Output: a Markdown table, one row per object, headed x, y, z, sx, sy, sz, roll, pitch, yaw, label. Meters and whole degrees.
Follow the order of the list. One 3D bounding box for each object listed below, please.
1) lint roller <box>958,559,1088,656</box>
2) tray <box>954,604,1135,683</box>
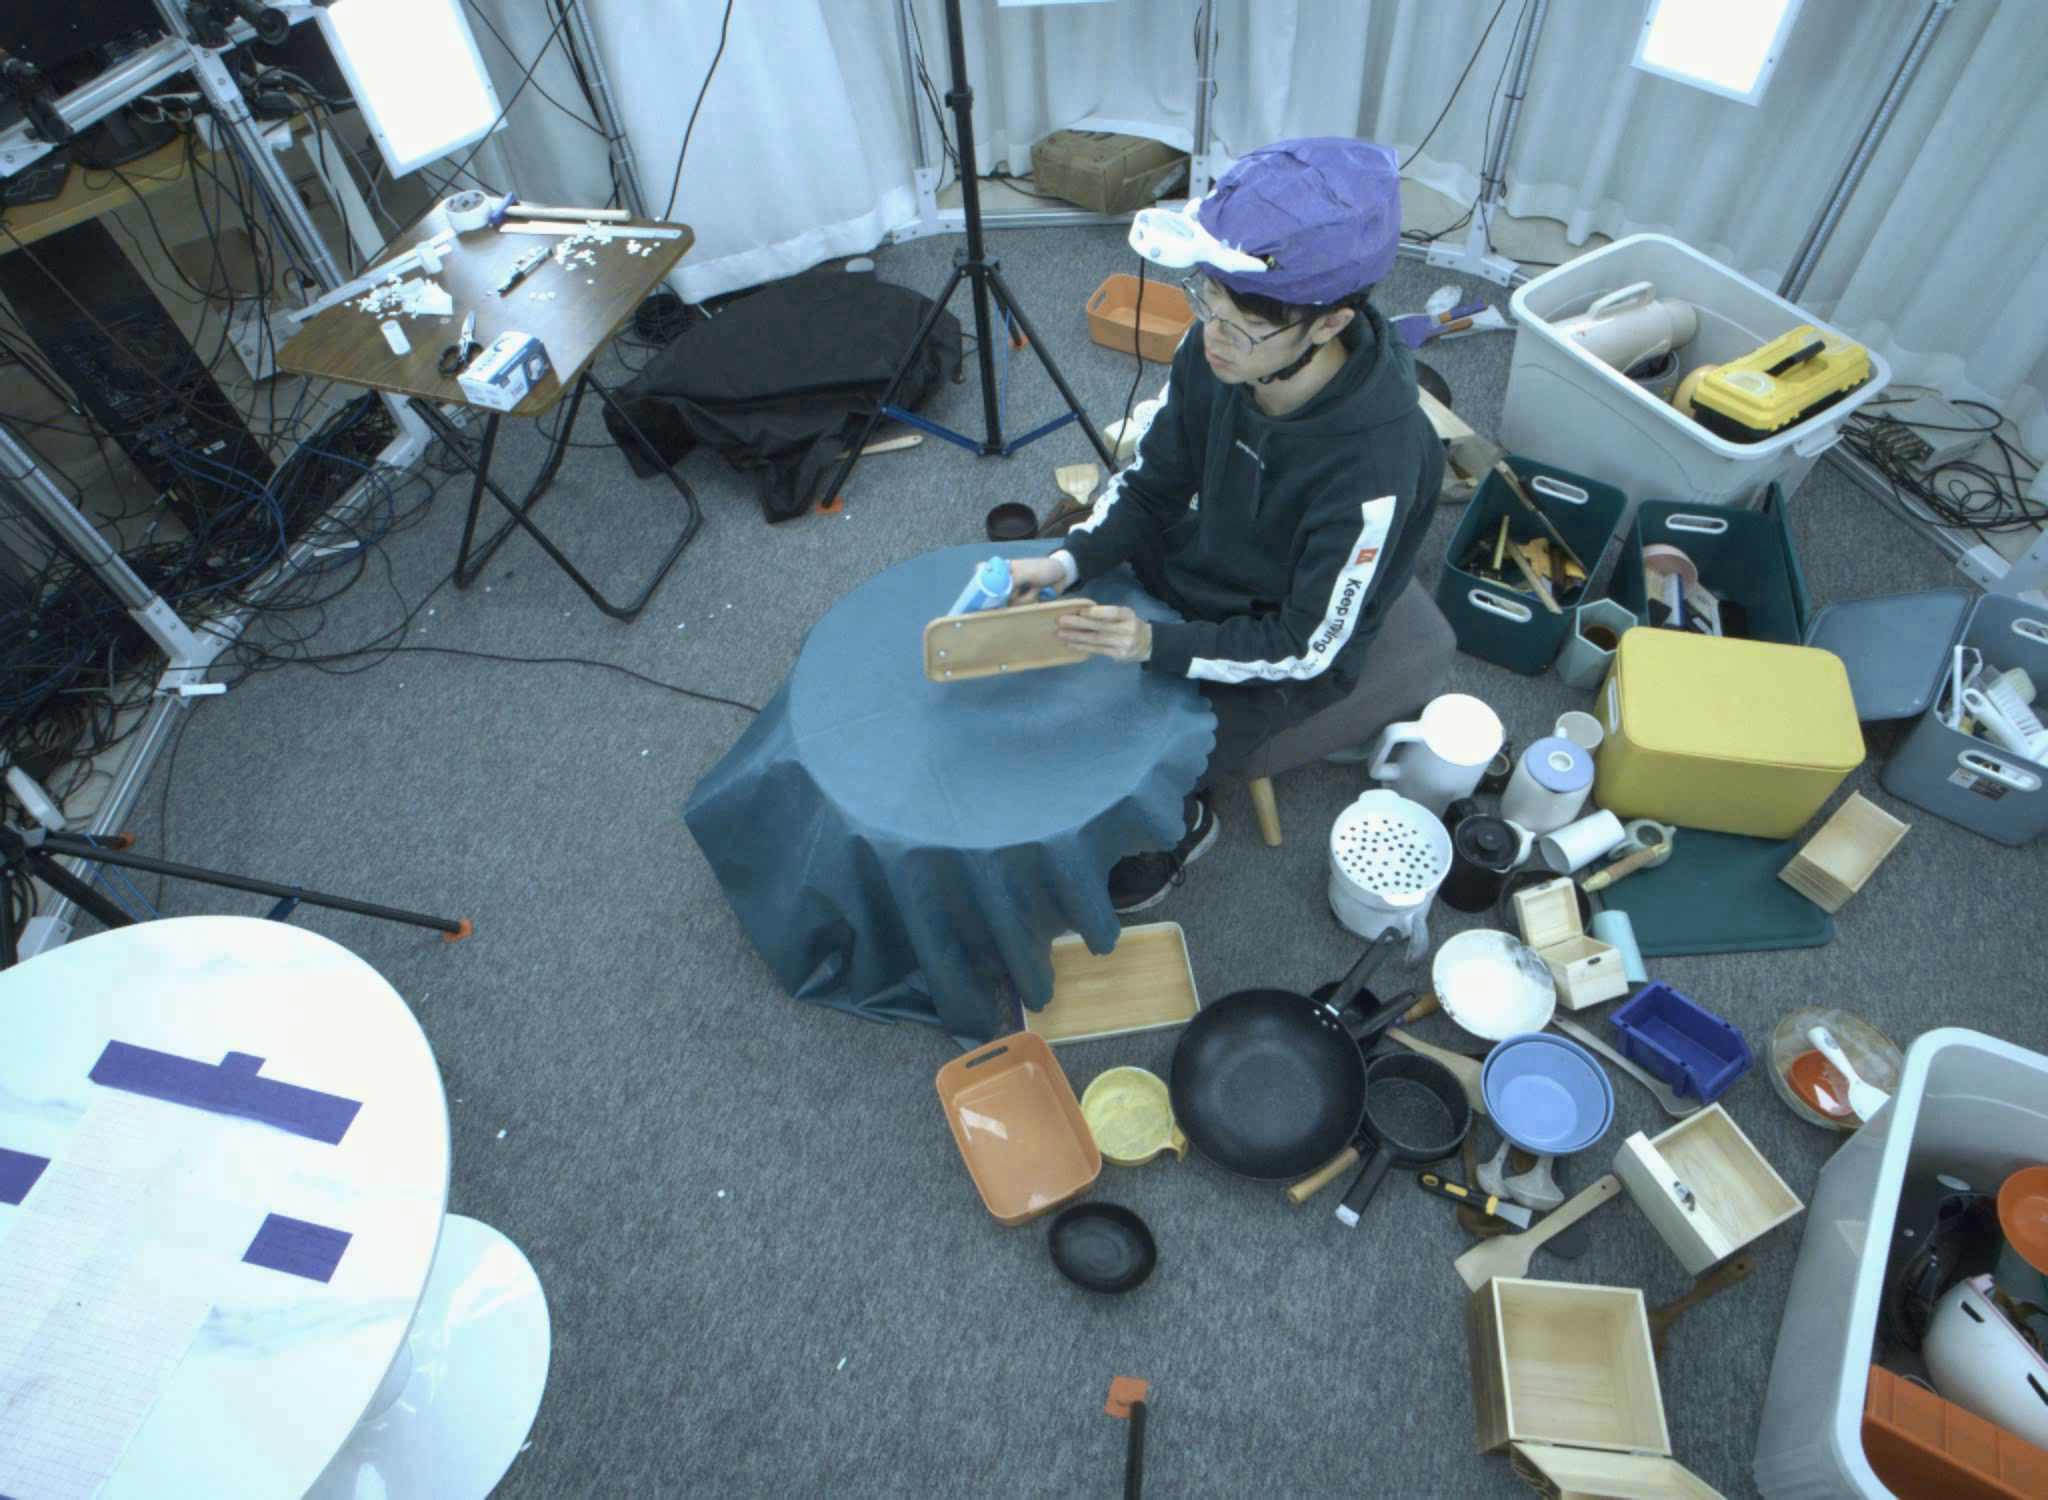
| x | y | z | sx | sy | sz | roll | pitch | yaw | label |
| --- | --- | --- | --- | --- | --- | --- | --- | --- | --- |
| 0.008 | -0.204 | 1.756 | 0.183 | 0.227 | 0.067 | -27 | 77 | -36 | lint roller |
| 0.027 | -0.149 | 1.709 | 0.253 | 0.131 | 0.022 | -7 | 58 | -11 | tray |
